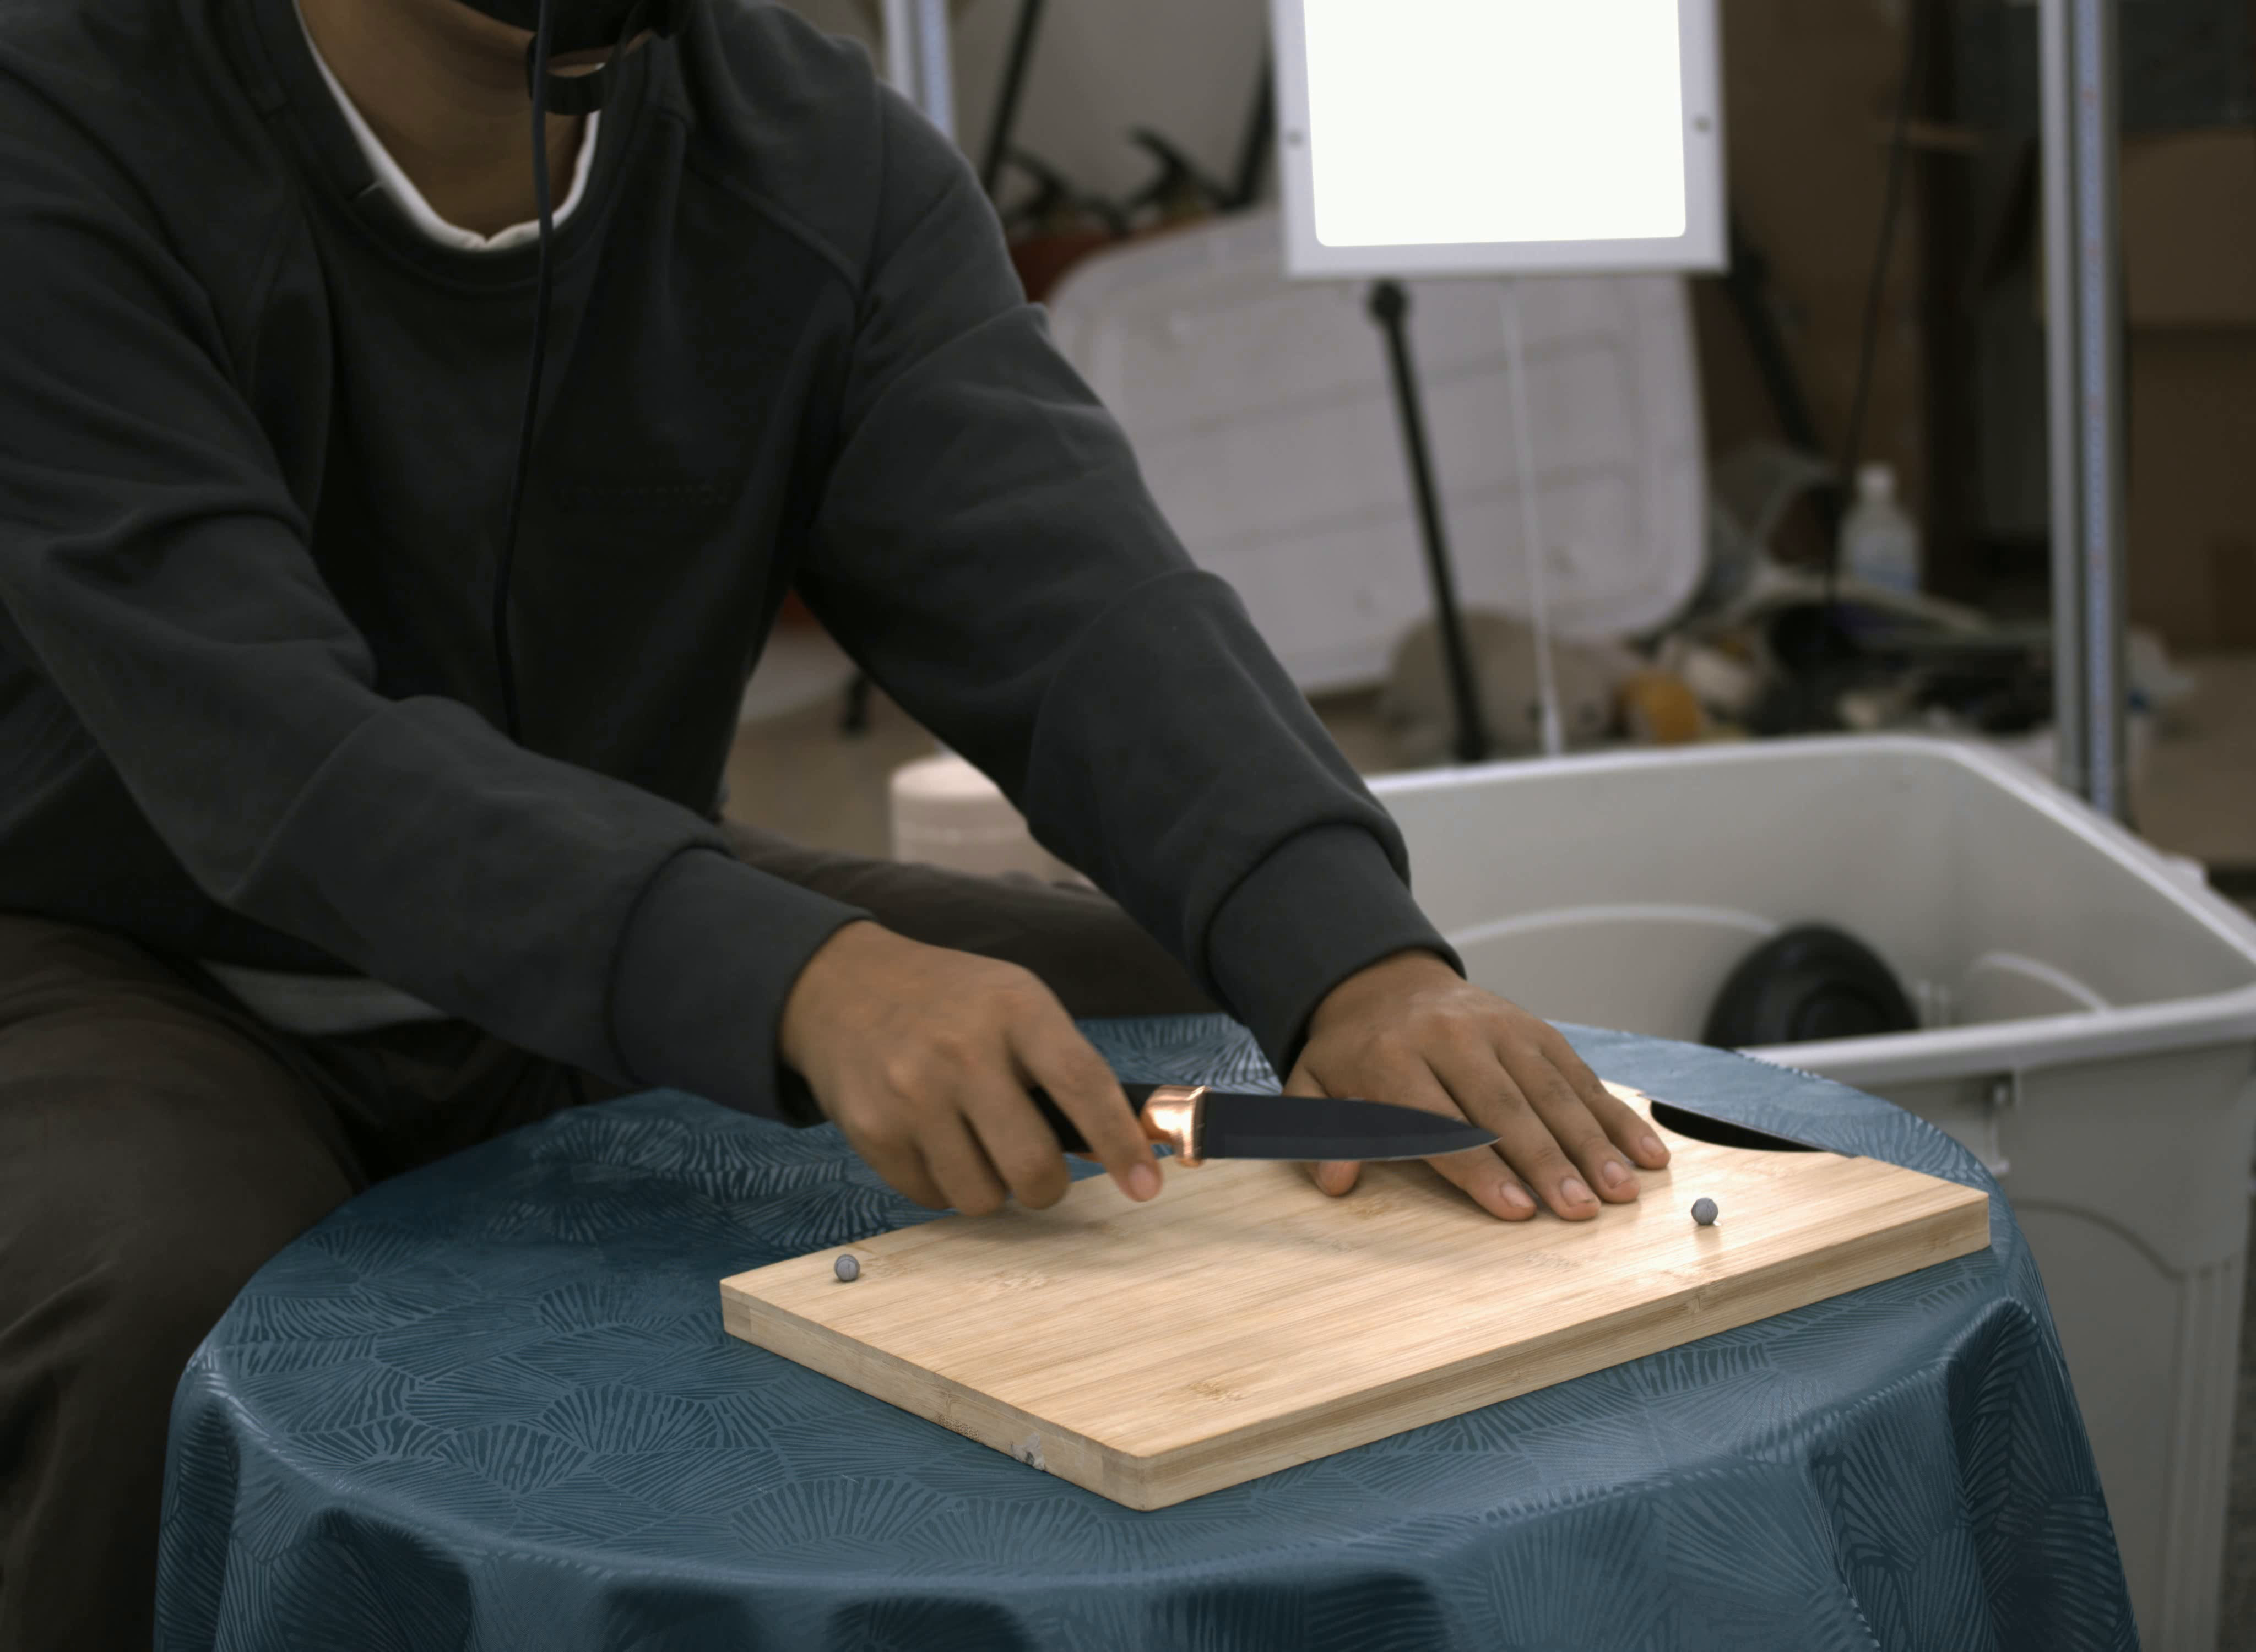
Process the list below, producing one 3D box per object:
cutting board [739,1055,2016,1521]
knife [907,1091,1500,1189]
[{"bbox_3d":[0.079,0.141,1.776,0.340,0.023,0.256,-14,16,-32],"label":"cutting board"},{"bbox_3d":[0.022,0.100,1.757,0.230,0.026,0.017,1,-13,36],"label":"knife"}]
